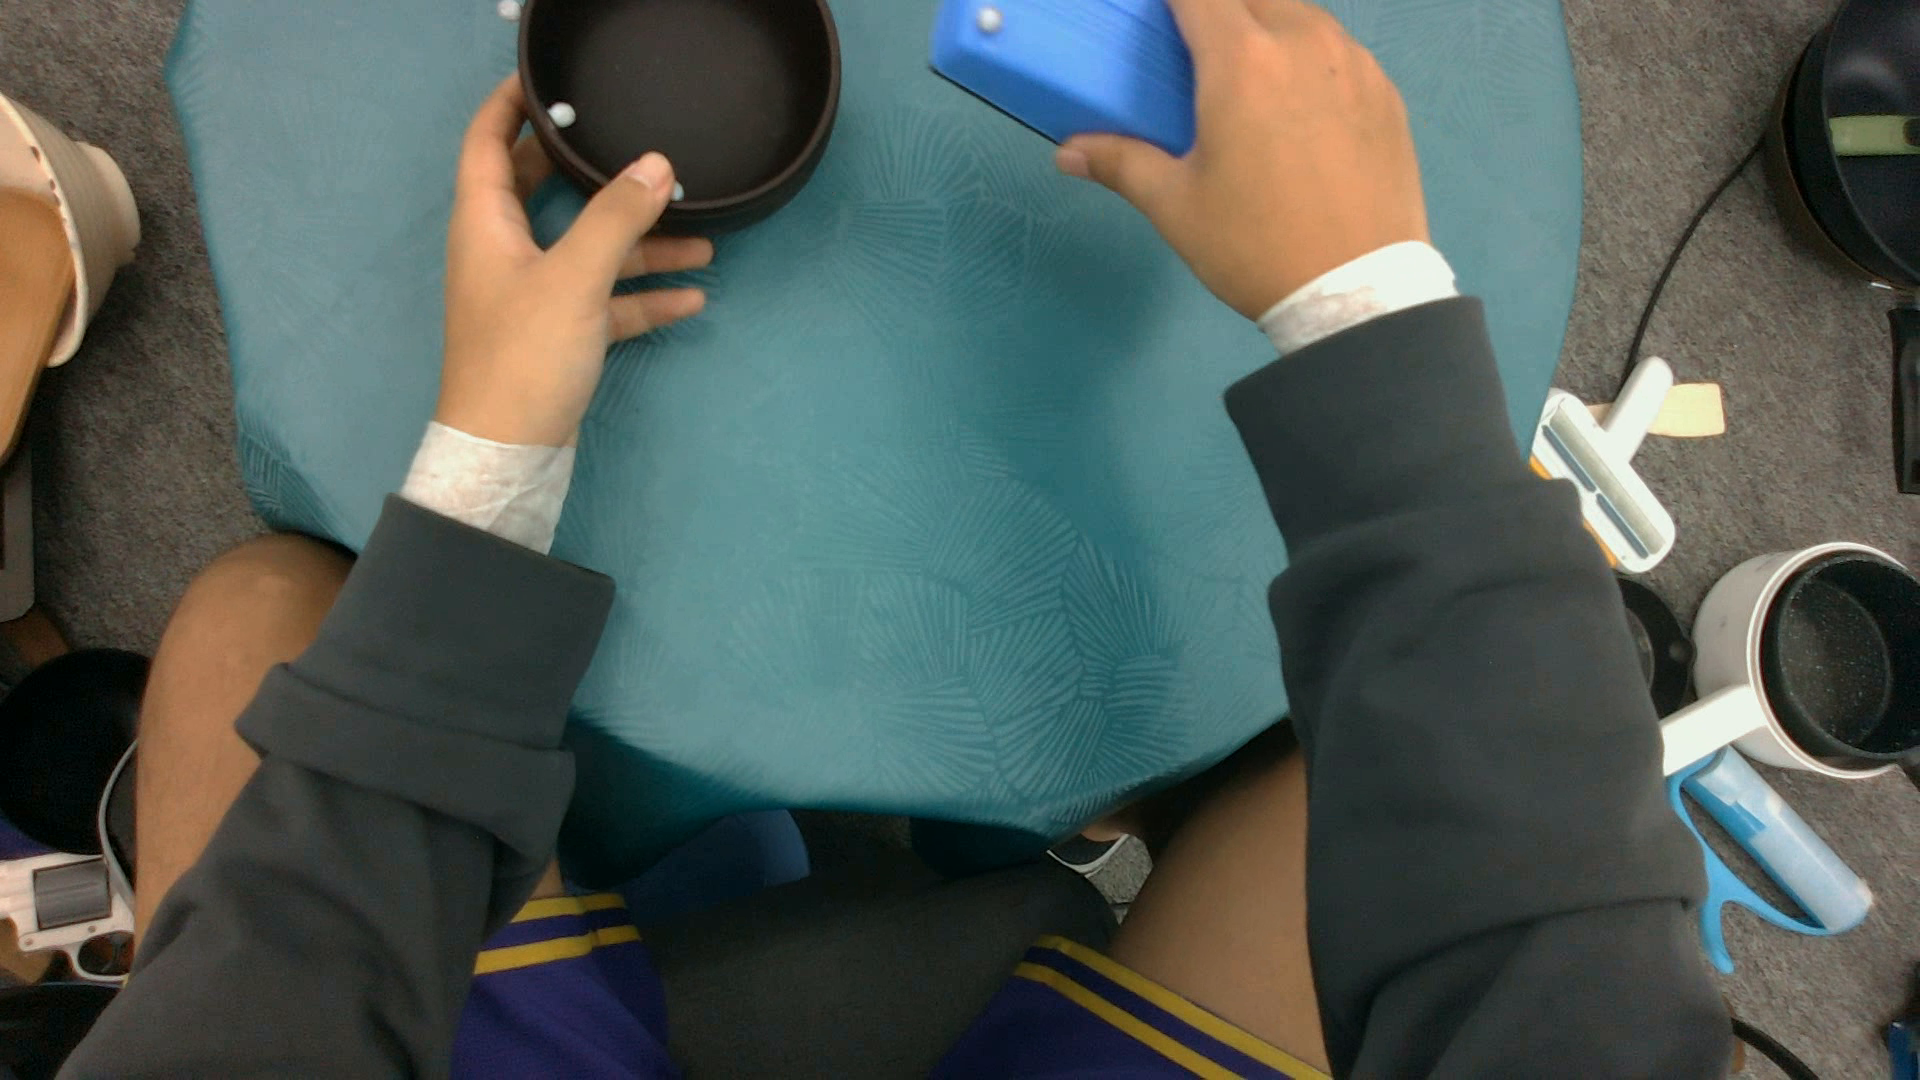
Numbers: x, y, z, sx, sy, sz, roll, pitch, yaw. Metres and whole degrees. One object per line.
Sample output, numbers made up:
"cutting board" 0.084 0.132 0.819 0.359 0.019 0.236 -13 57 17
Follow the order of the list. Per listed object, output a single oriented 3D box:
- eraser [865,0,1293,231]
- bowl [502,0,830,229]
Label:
"eraser" 0.048 -0.167 0.484 0.162 0.047 0.054 20 78 -22
"bowl" -0.111 -0.175 0.525 0.118 0.070 0.118 1 86 -13
